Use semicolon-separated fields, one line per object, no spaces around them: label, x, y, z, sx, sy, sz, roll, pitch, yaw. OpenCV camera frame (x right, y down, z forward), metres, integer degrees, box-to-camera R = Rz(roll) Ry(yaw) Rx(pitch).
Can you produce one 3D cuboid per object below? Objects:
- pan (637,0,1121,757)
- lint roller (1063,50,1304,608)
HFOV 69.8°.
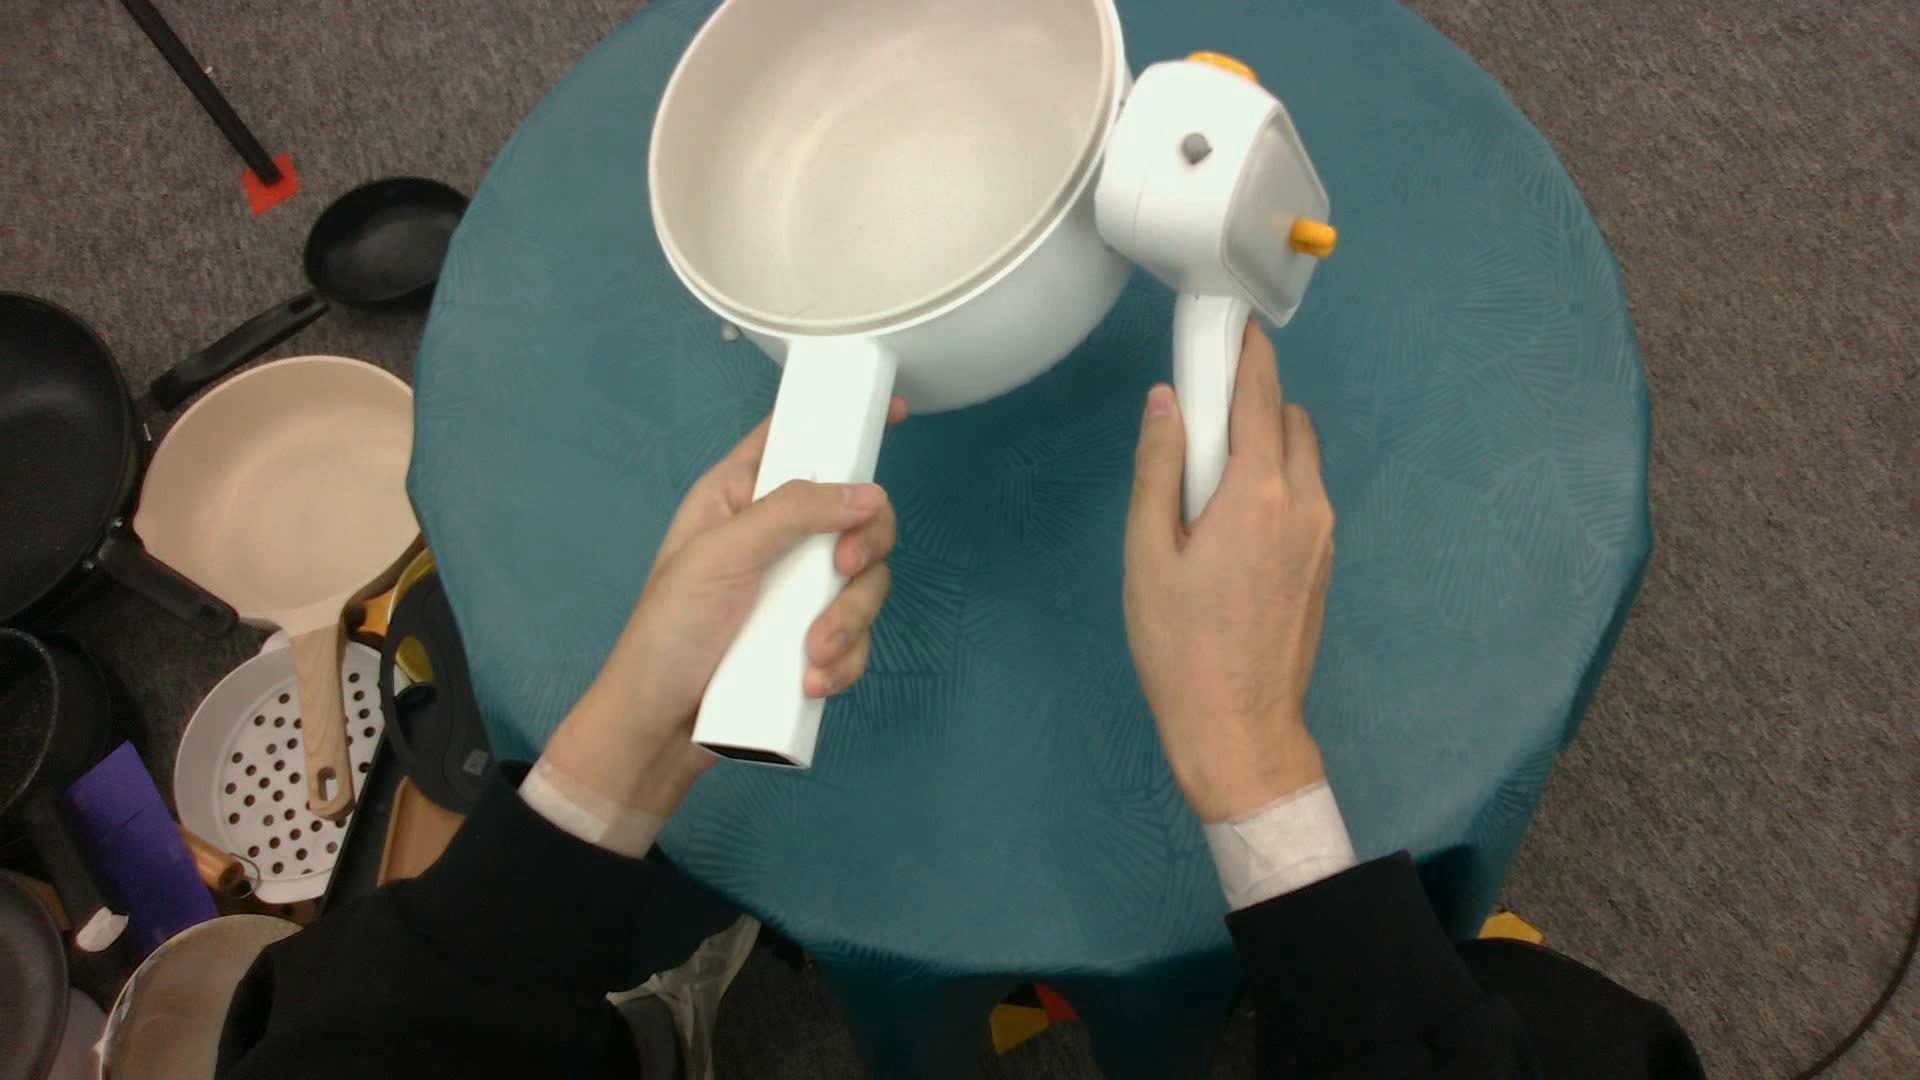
pan;-0.037;-0.084;0.556;0.201;0.102;0.356;3;71;20
lint roller;0.087;-0.071;0.531;0.074;0.193;0.192;11;97;16
